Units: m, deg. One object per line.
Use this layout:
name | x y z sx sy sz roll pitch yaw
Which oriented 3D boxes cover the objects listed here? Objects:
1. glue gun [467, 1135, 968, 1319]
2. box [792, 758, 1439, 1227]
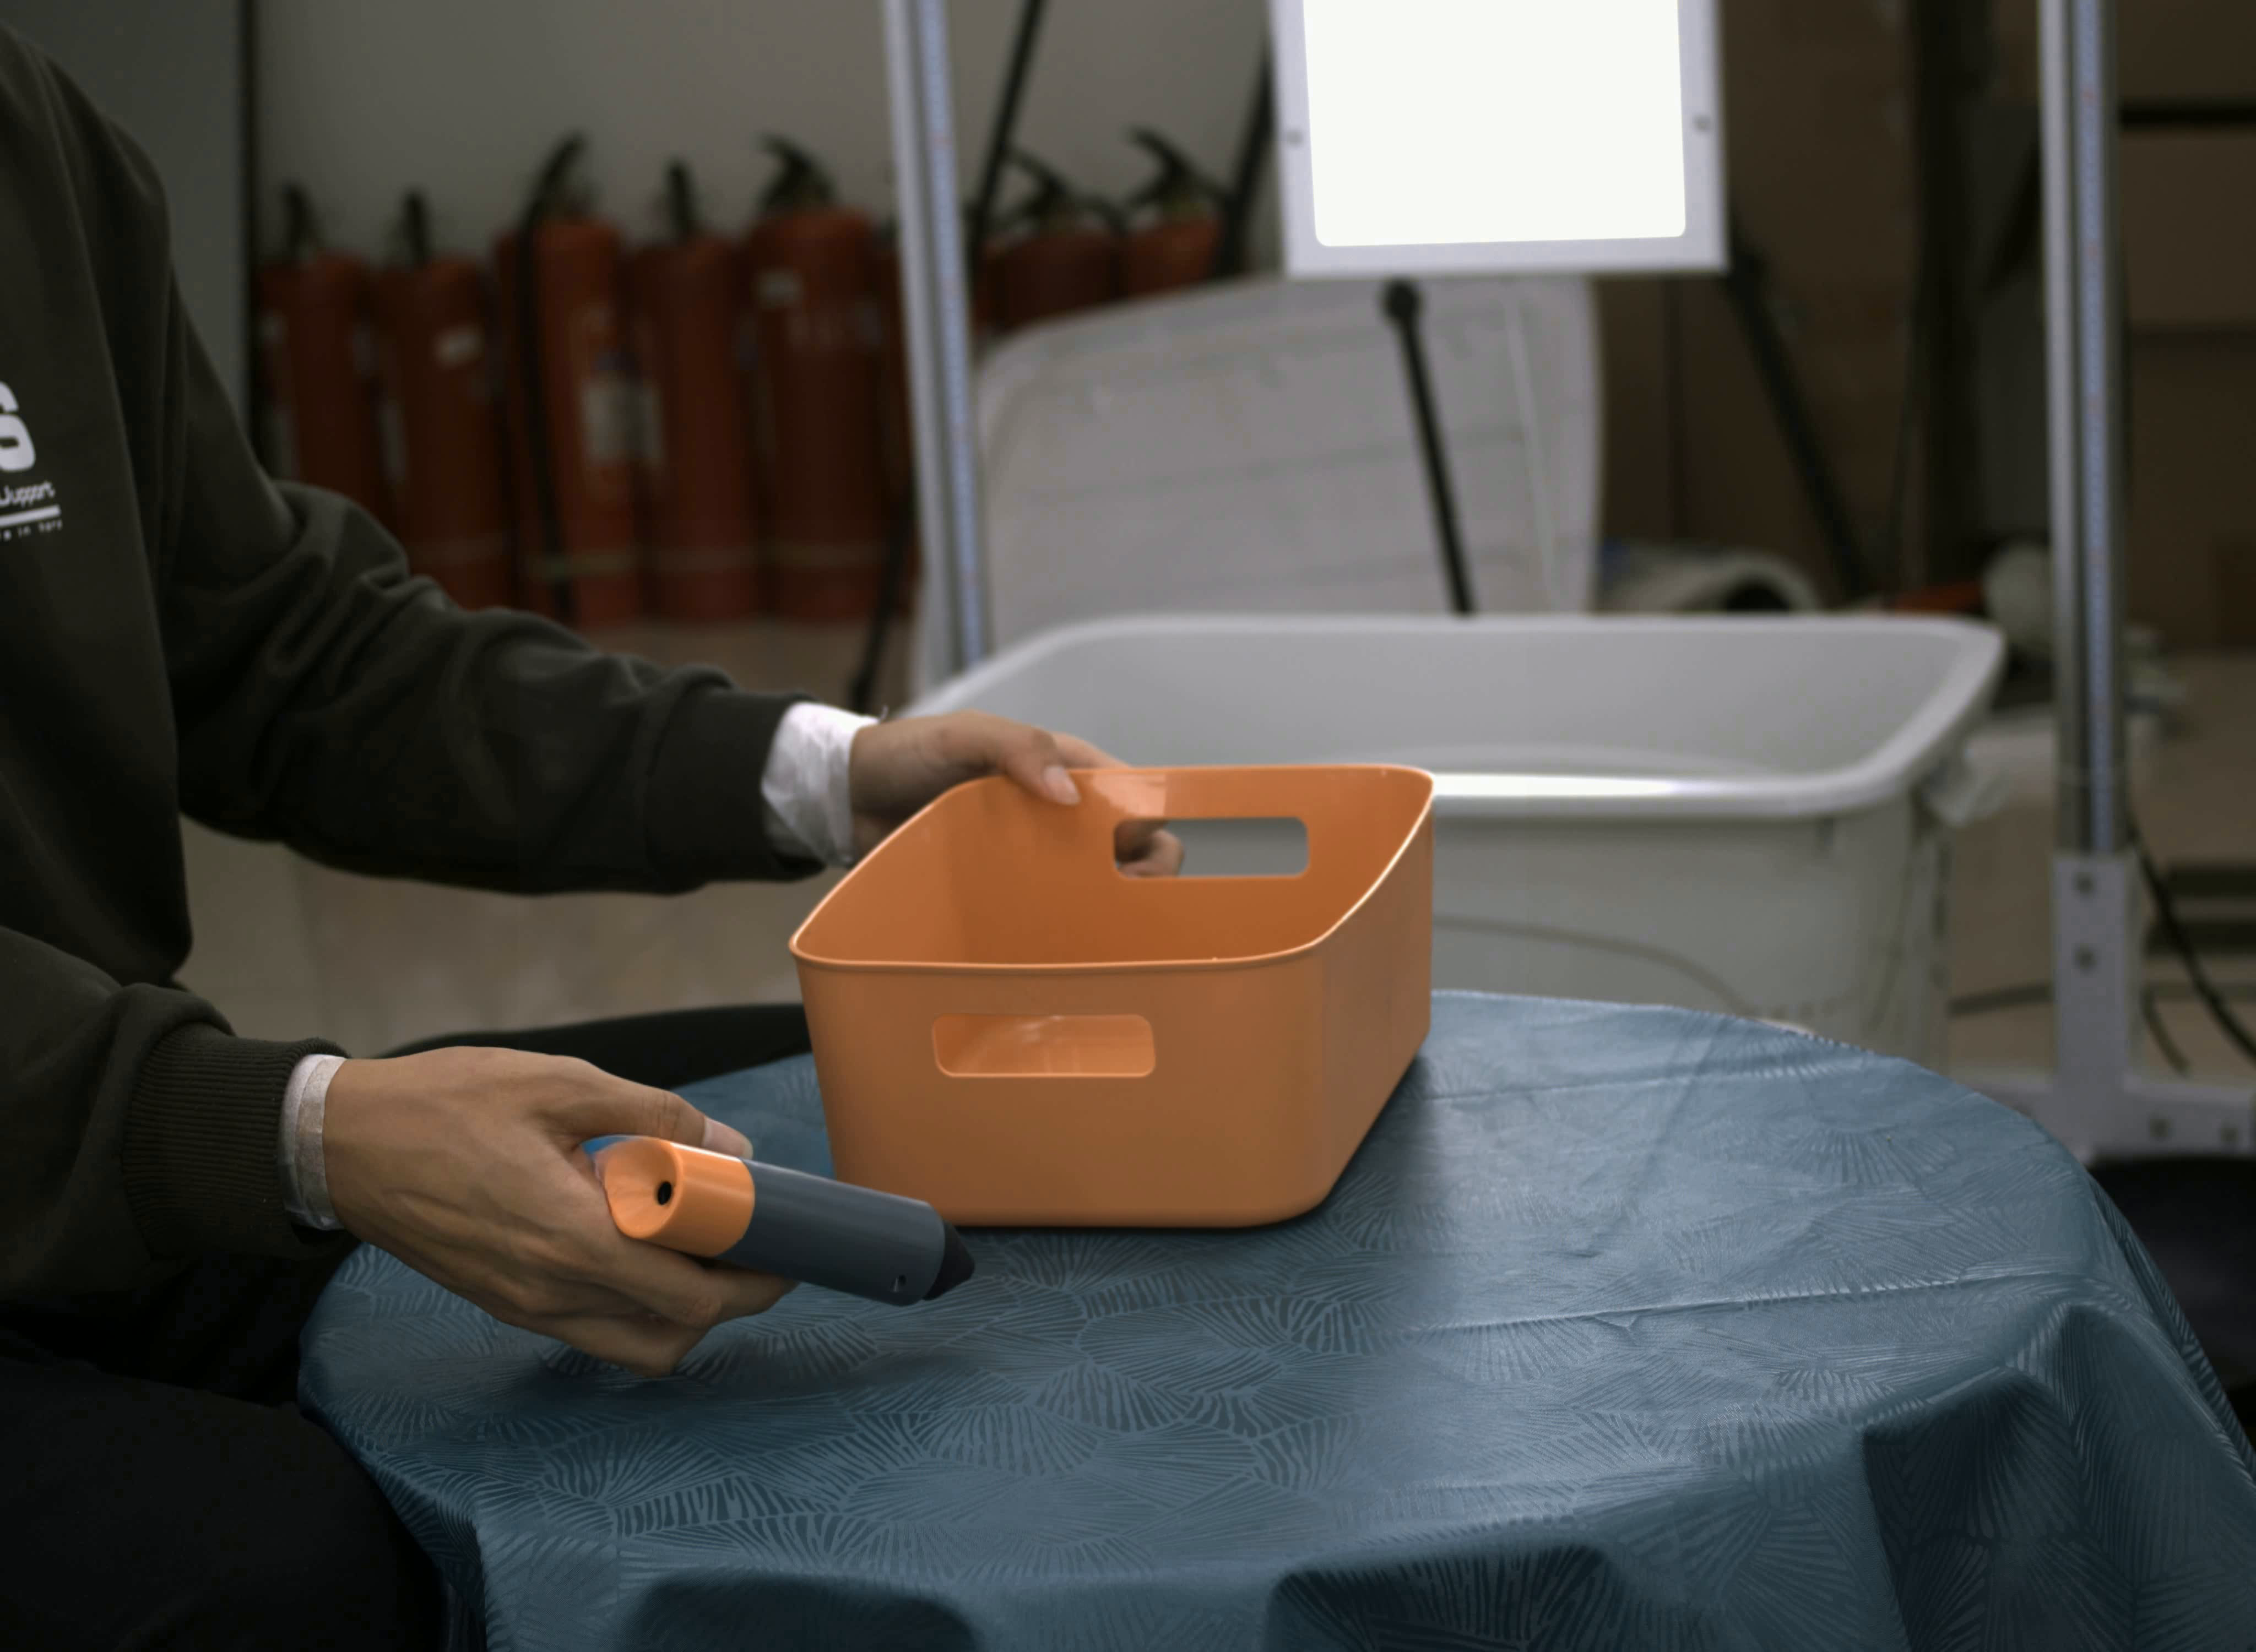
glue gun | -0.133 0.128 1.759 0.143 0.041 0.115 0 -19 43
box | 0.003 0.058 1.959 0.201 0.103 0.269 -1 15 15
